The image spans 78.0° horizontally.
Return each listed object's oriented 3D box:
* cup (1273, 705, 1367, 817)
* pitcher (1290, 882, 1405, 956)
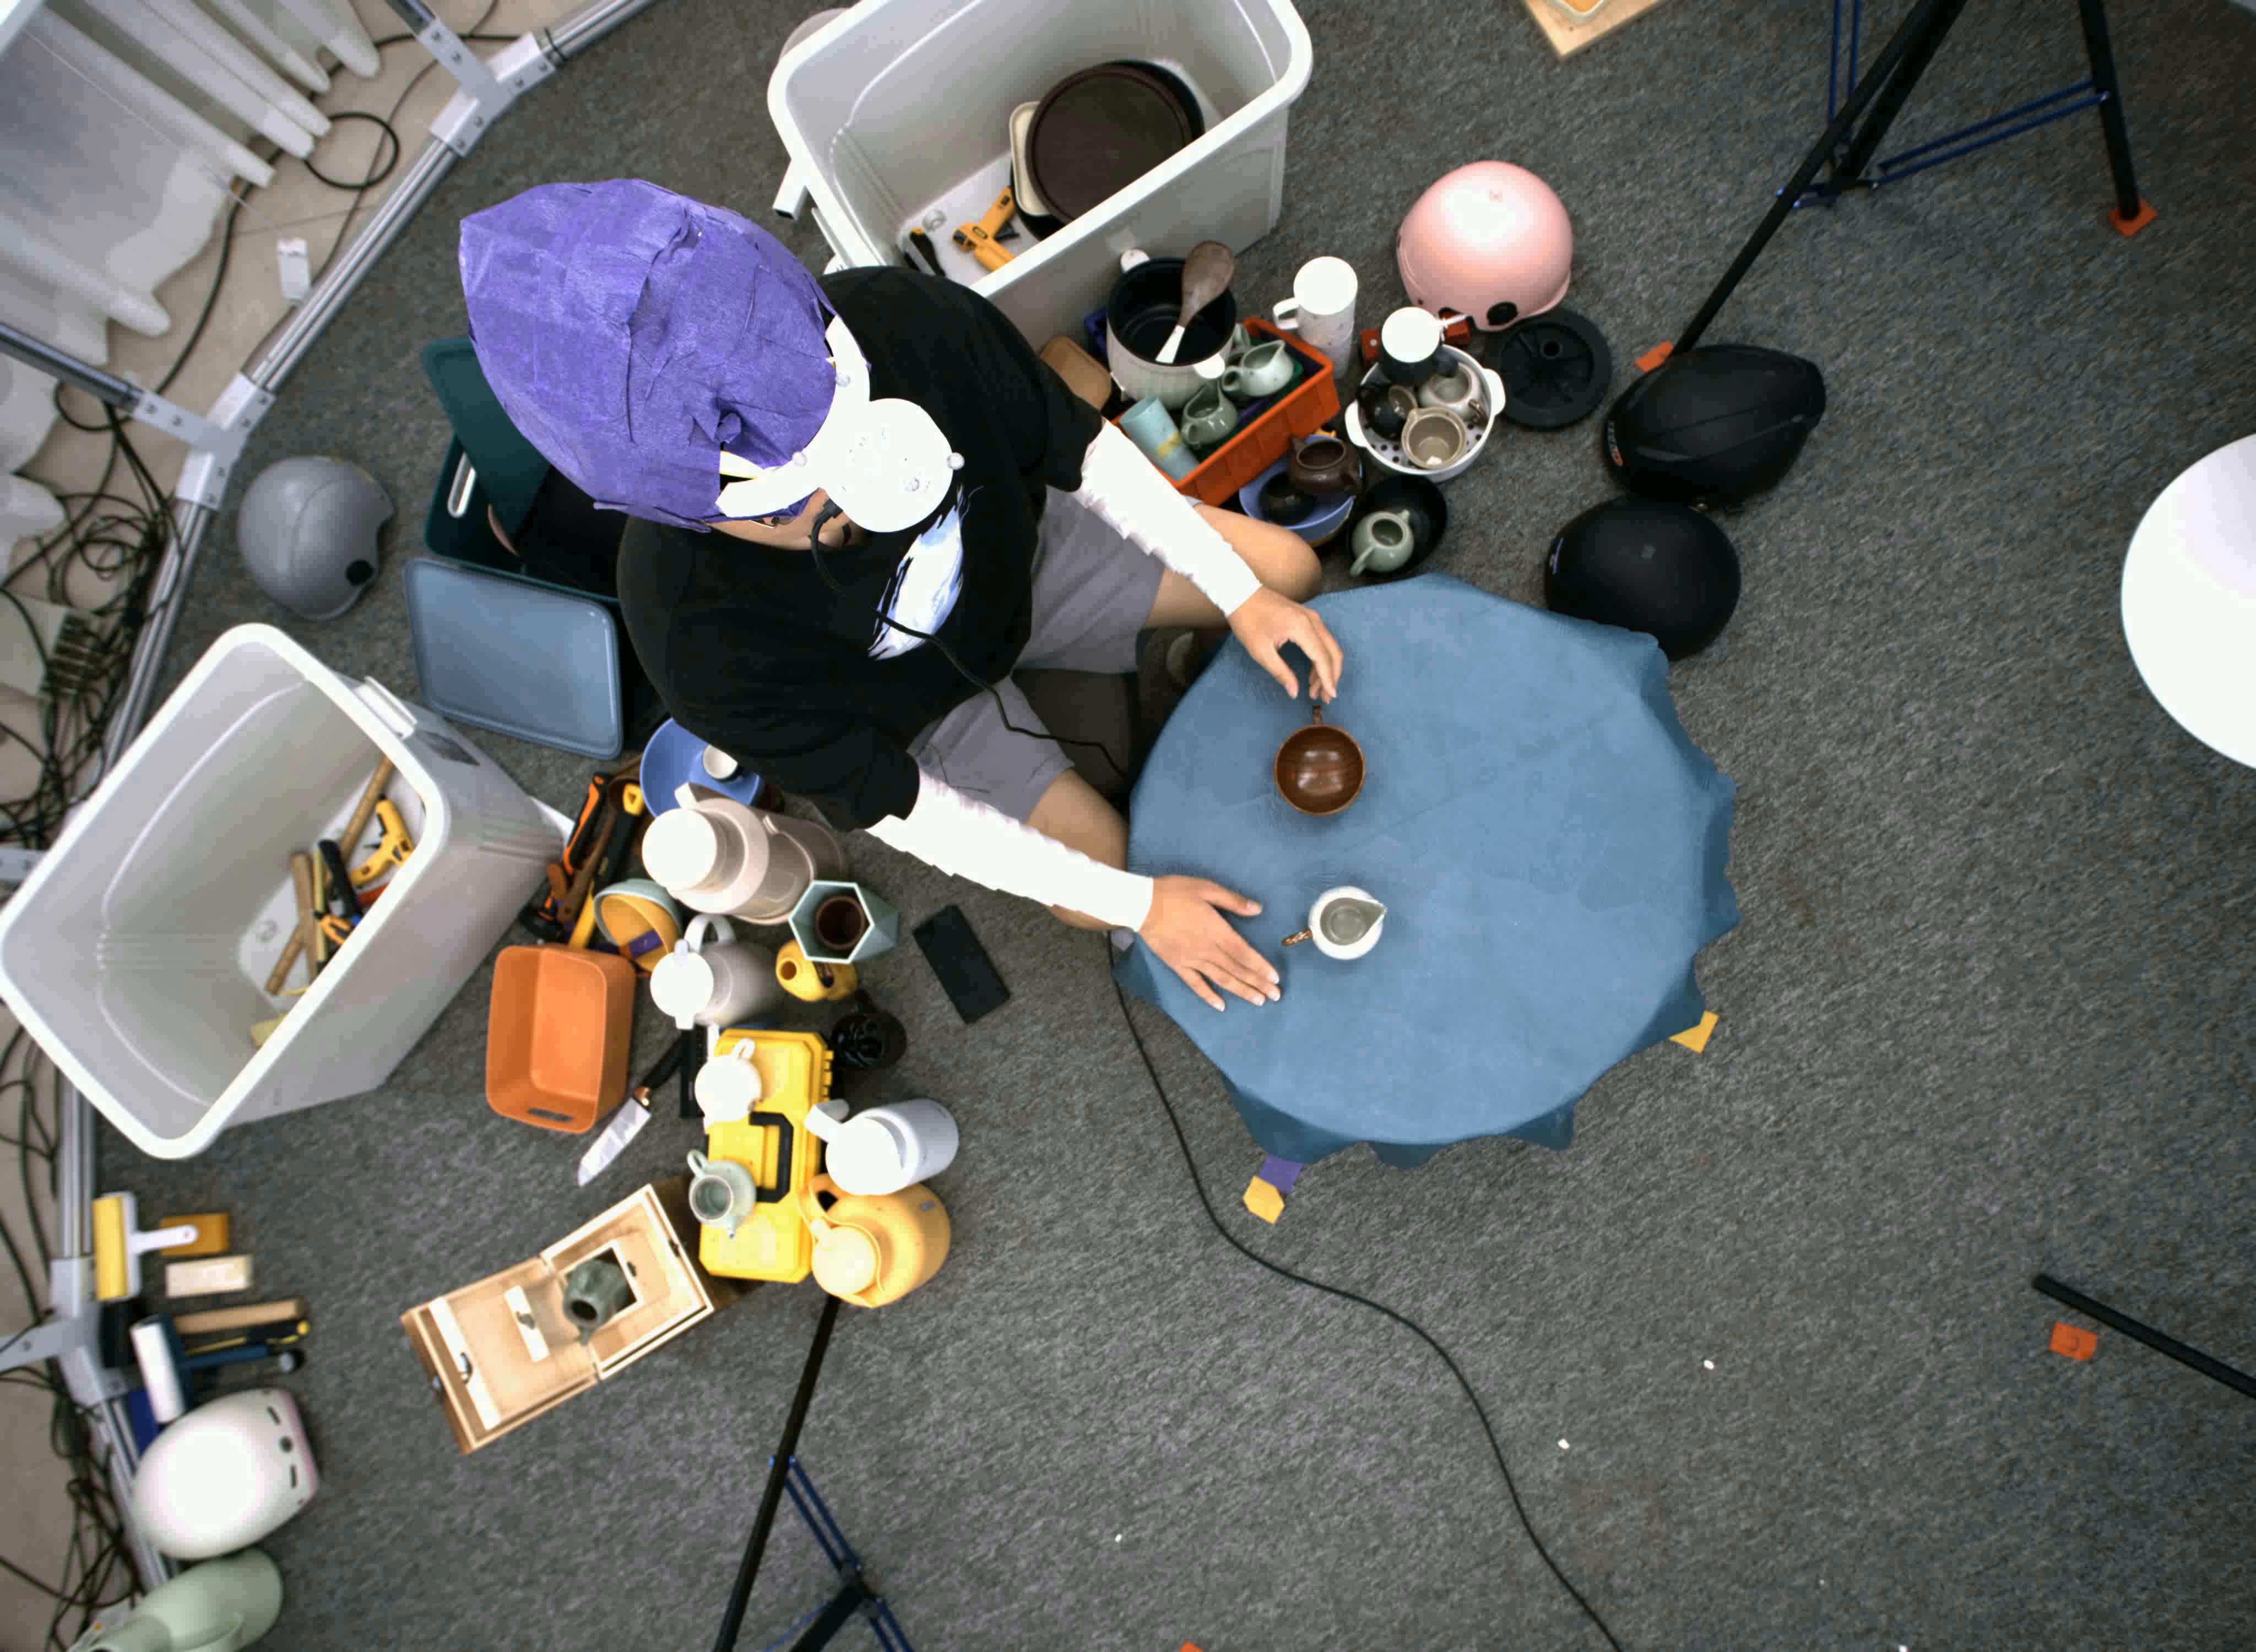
[{"bbox_3d":[0.203,-0.068,1.446,0.096,0.068,0.118,-5,84,14],"label":"cup"},{"bbox_3d":[0.224,0.098,1.420,0.119,0.088,0.075,-14,78,6],"label":"pitcher"}]
